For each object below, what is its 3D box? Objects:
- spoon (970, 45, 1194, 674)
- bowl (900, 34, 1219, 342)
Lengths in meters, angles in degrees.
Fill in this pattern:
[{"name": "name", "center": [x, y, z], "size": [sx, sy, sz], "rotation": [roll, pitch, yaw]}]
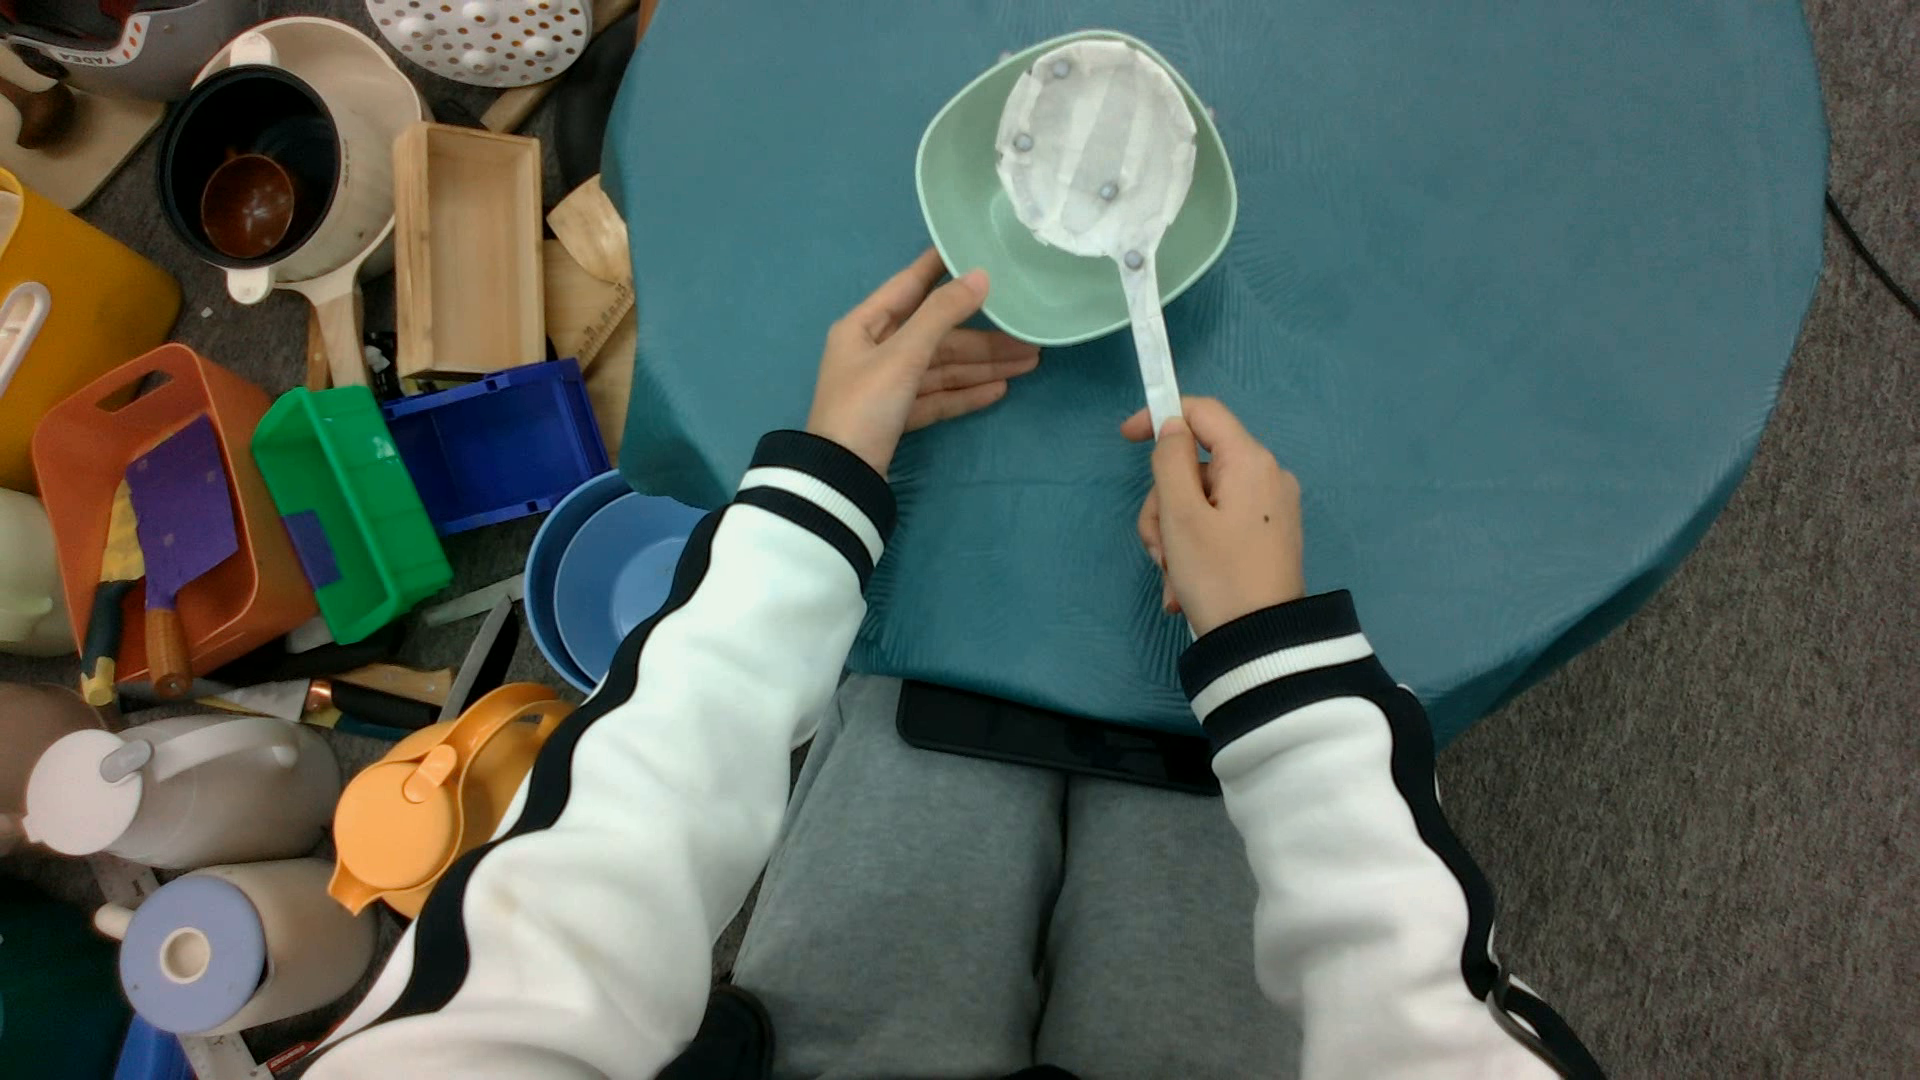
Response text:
[{"name": "spoon", "center": [0.059, -0.079, 0.601], "size": [0.100, 0.059, 0.278], "rotation": [-16, 72, 33]}, {"name": "bowl", "center": [0.048, -0.162, 0.669], "size": [0.151, 0.058, 0.151], "rotation": [0, 83, 4]}]
